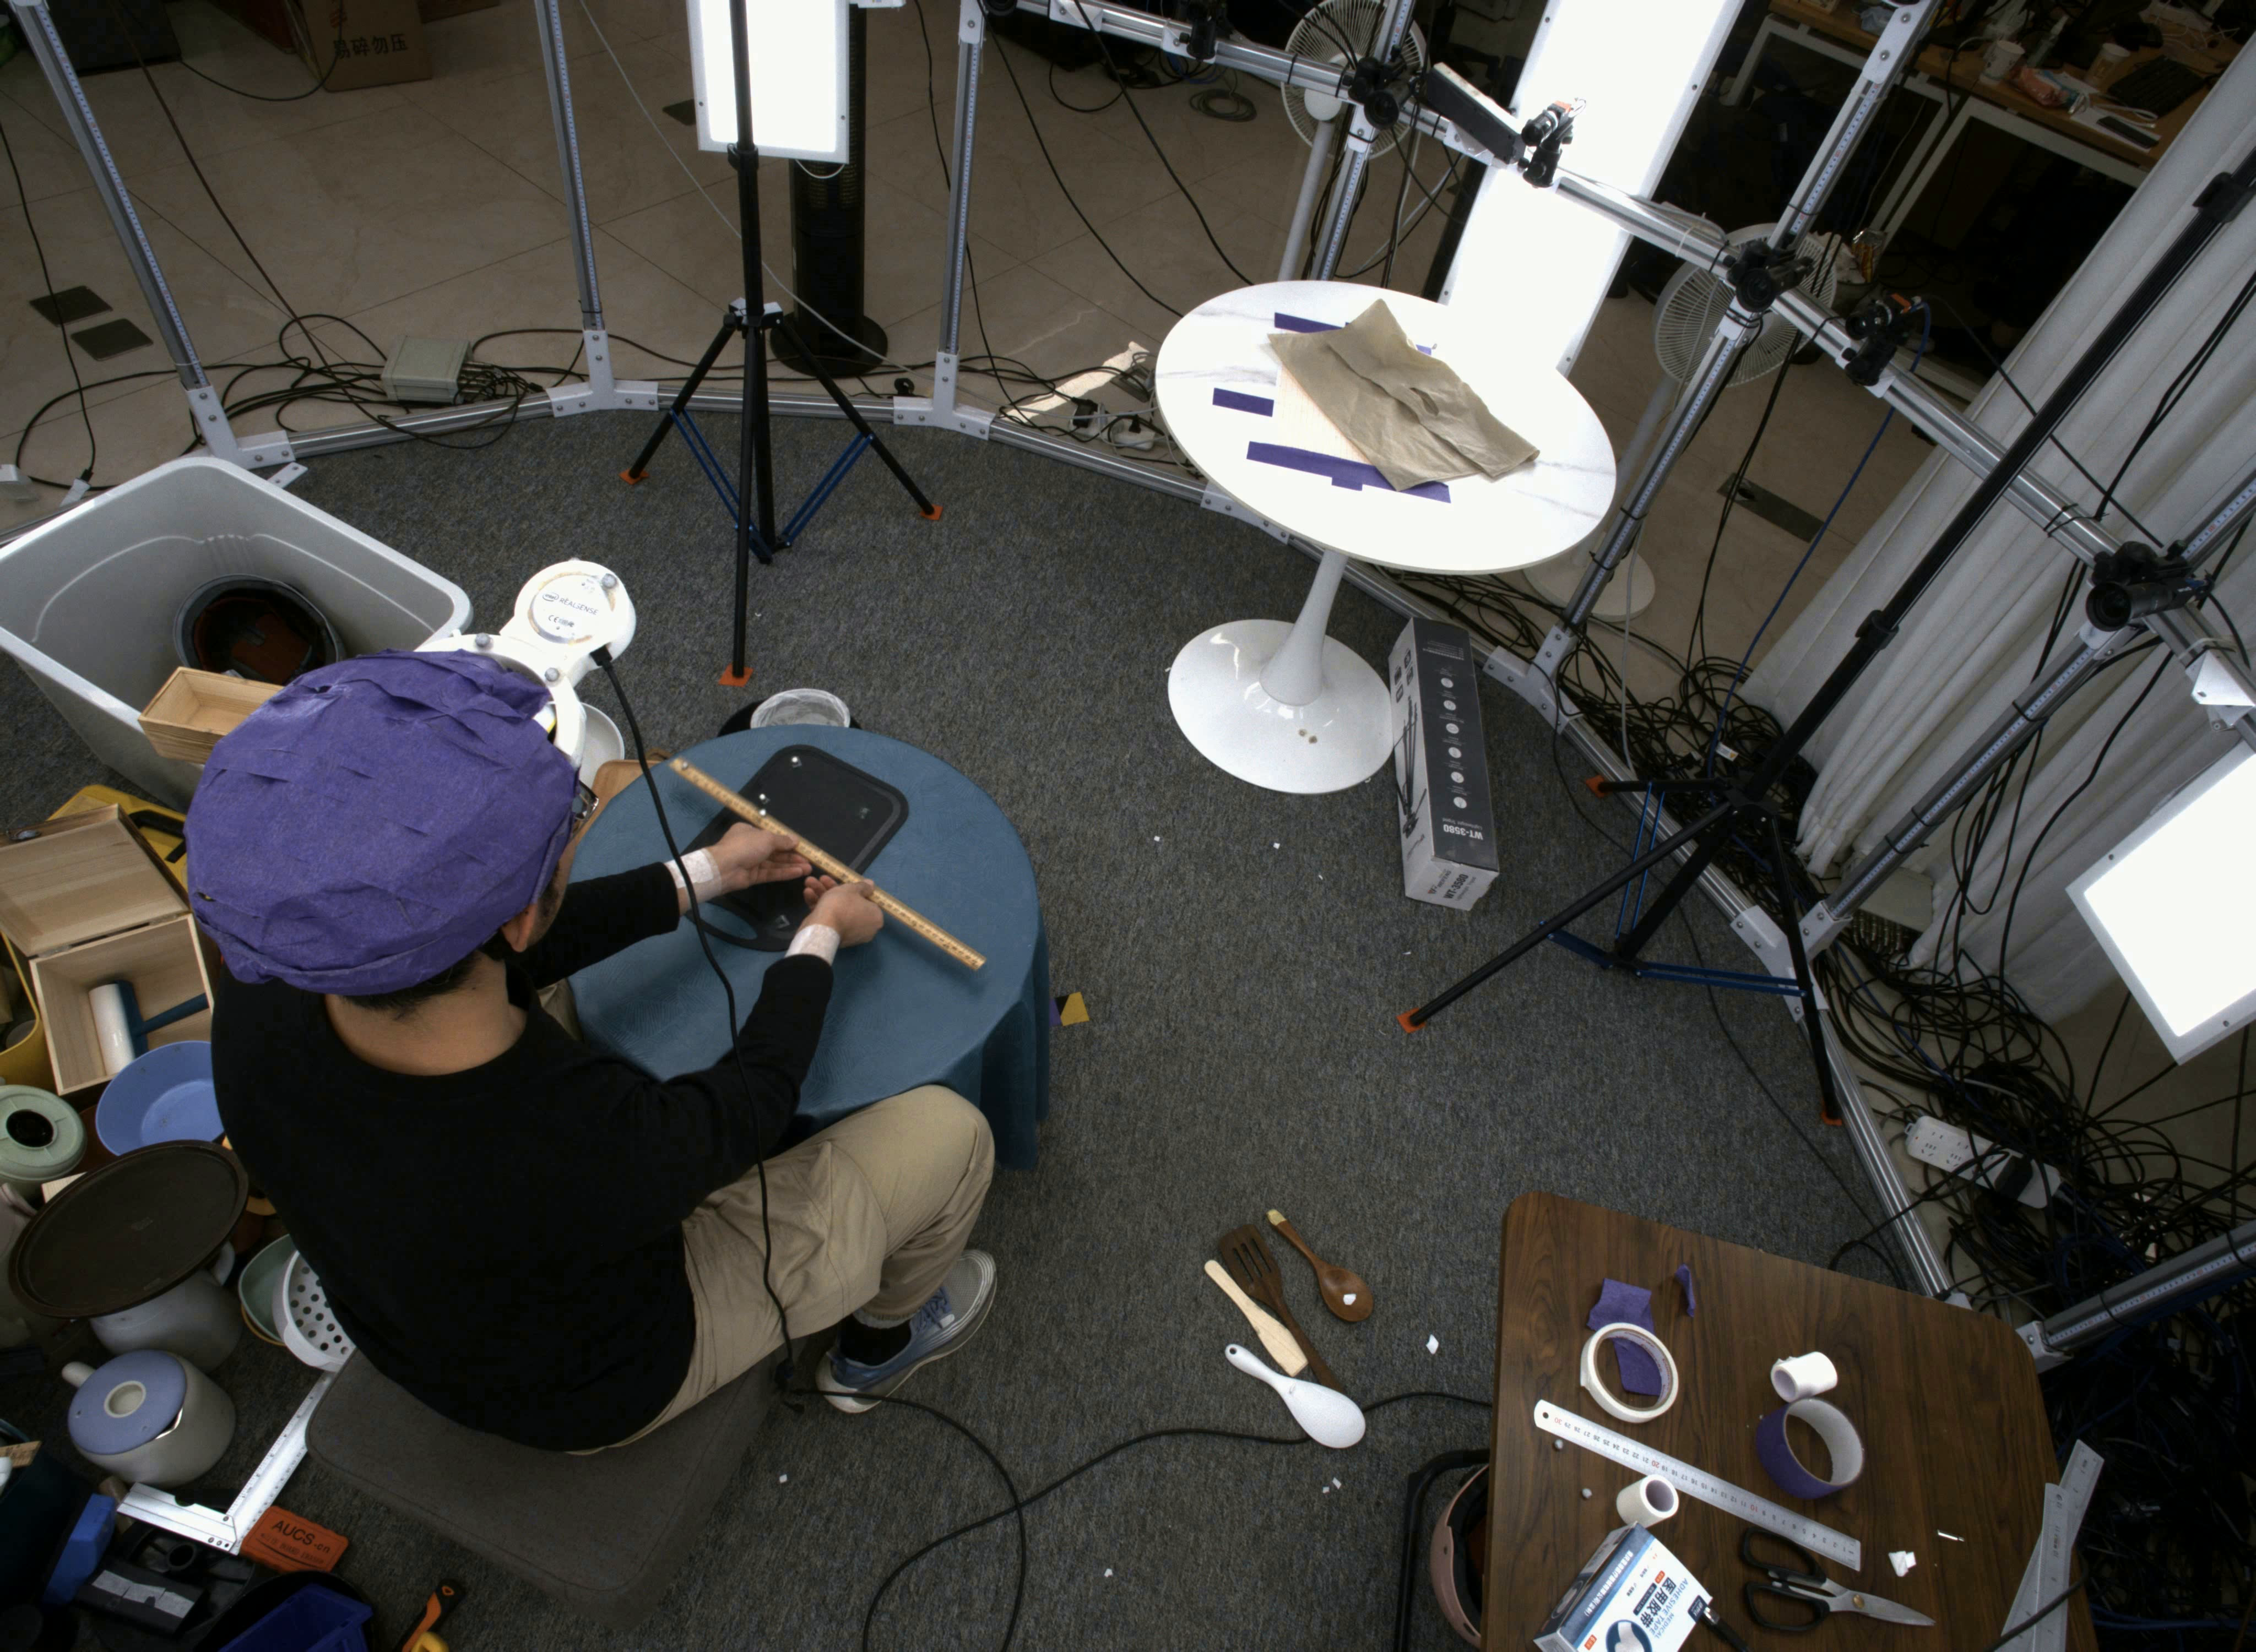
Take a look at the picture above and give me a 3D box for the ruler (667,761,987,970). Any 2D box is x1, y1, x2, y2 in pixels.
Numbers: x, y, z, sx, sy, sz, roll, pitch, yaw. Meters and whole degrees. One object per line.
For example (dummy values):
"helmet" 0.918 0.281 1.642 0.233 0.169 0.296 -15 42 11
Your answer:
"ruler" -0.389 0.045 1.650 0.493 0.006 0.027 31 36 8

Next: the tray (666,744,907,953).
"tray" -0.445 0.025 1.690 0.208 0.010 0.324 28 52 7
